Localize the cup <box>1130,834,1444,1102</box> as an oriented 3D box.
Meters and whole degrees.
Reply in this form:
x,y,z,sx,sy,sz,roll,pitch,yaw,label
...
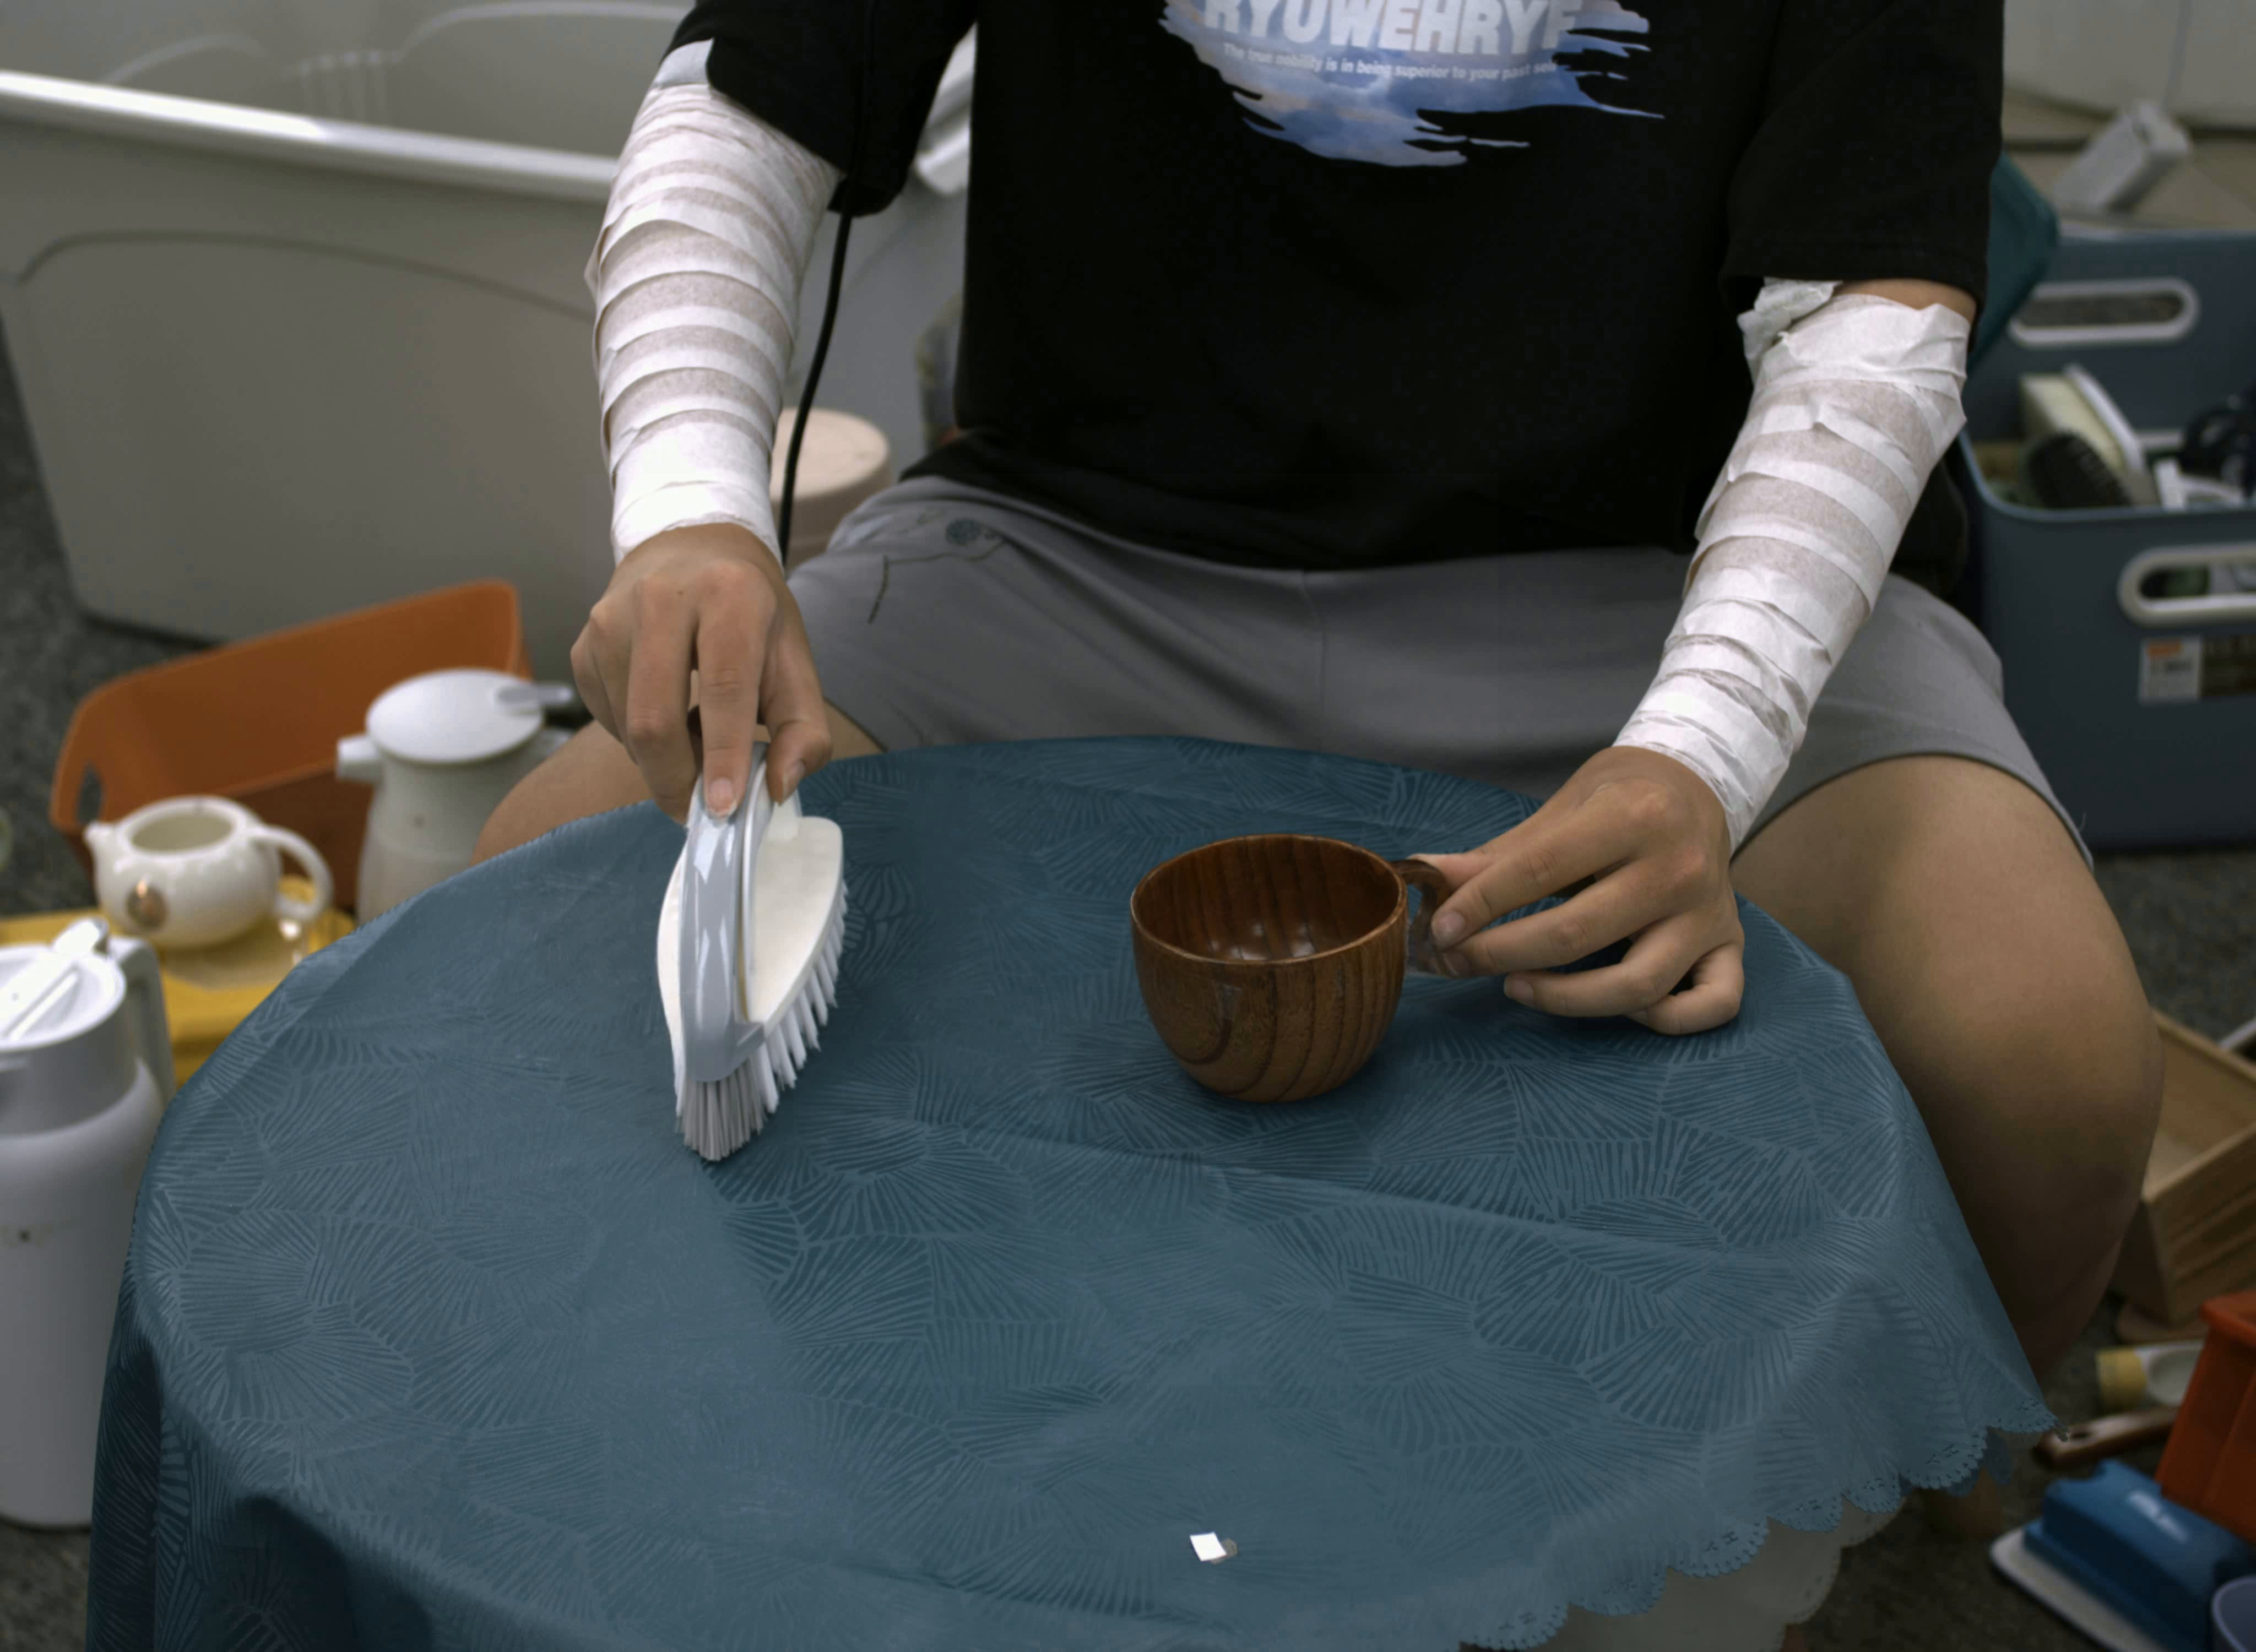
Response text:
x,y,z,sx,sy,sz,roll,pitch,yaw,label
0.060,0.048,1.926,0.120,0.067,0.096,-17,28,-28,cup

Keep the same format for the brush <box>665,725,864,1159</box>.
x,y,z,sx,sy,sz,roll,pitch,yaw,label
-0.134,0.032,1.945,0.061,0.093,0.179,-6,32,10,brush
